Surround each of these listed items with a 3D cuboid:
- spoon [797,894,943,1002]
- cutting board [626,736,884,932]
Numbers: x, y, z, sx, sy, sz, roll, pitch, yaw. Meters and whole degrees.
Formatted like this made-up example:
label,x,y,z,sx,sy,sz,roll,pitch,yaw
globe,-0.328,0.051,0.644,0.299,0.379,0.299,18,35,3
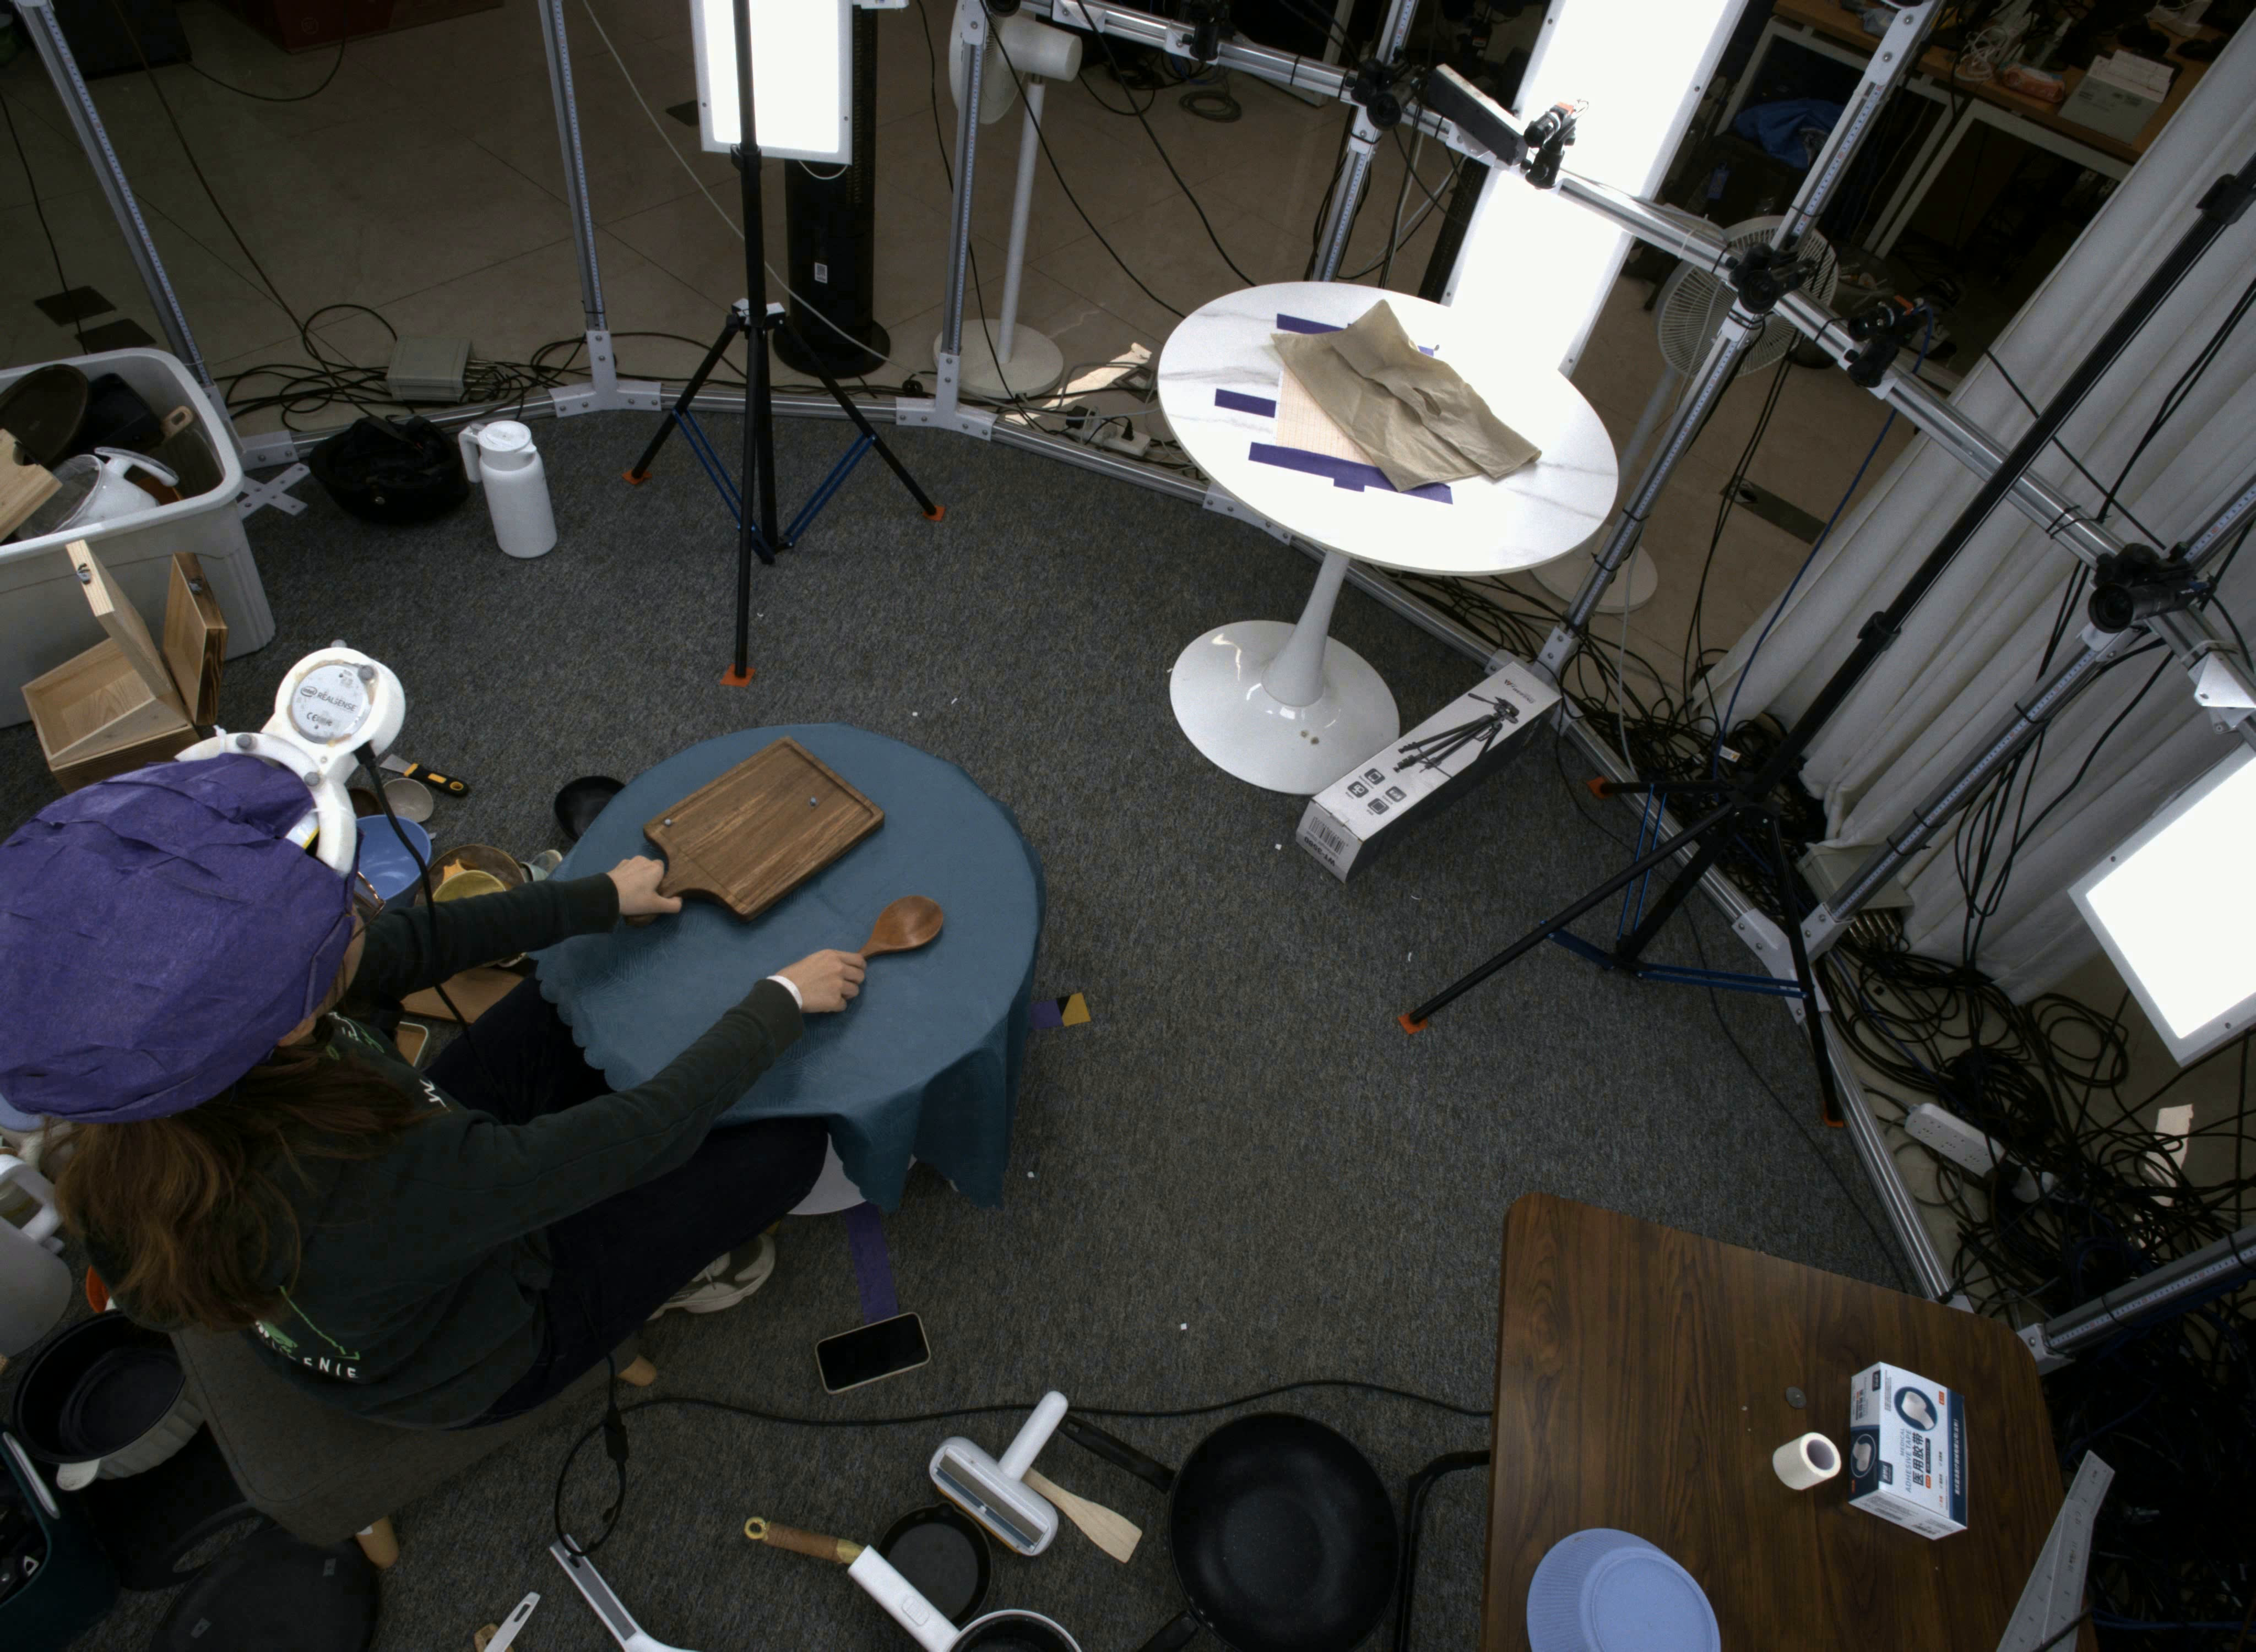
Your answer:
label,x,y,z,sx,sy,sz,roll,pitch,yaw
spoon,-0.324,0.153,1.629,0.074,0.017,0.216,44,55,16
cutting board,-0.504,0.024,1.668,0.197,0.023,0.352,38,51,13
